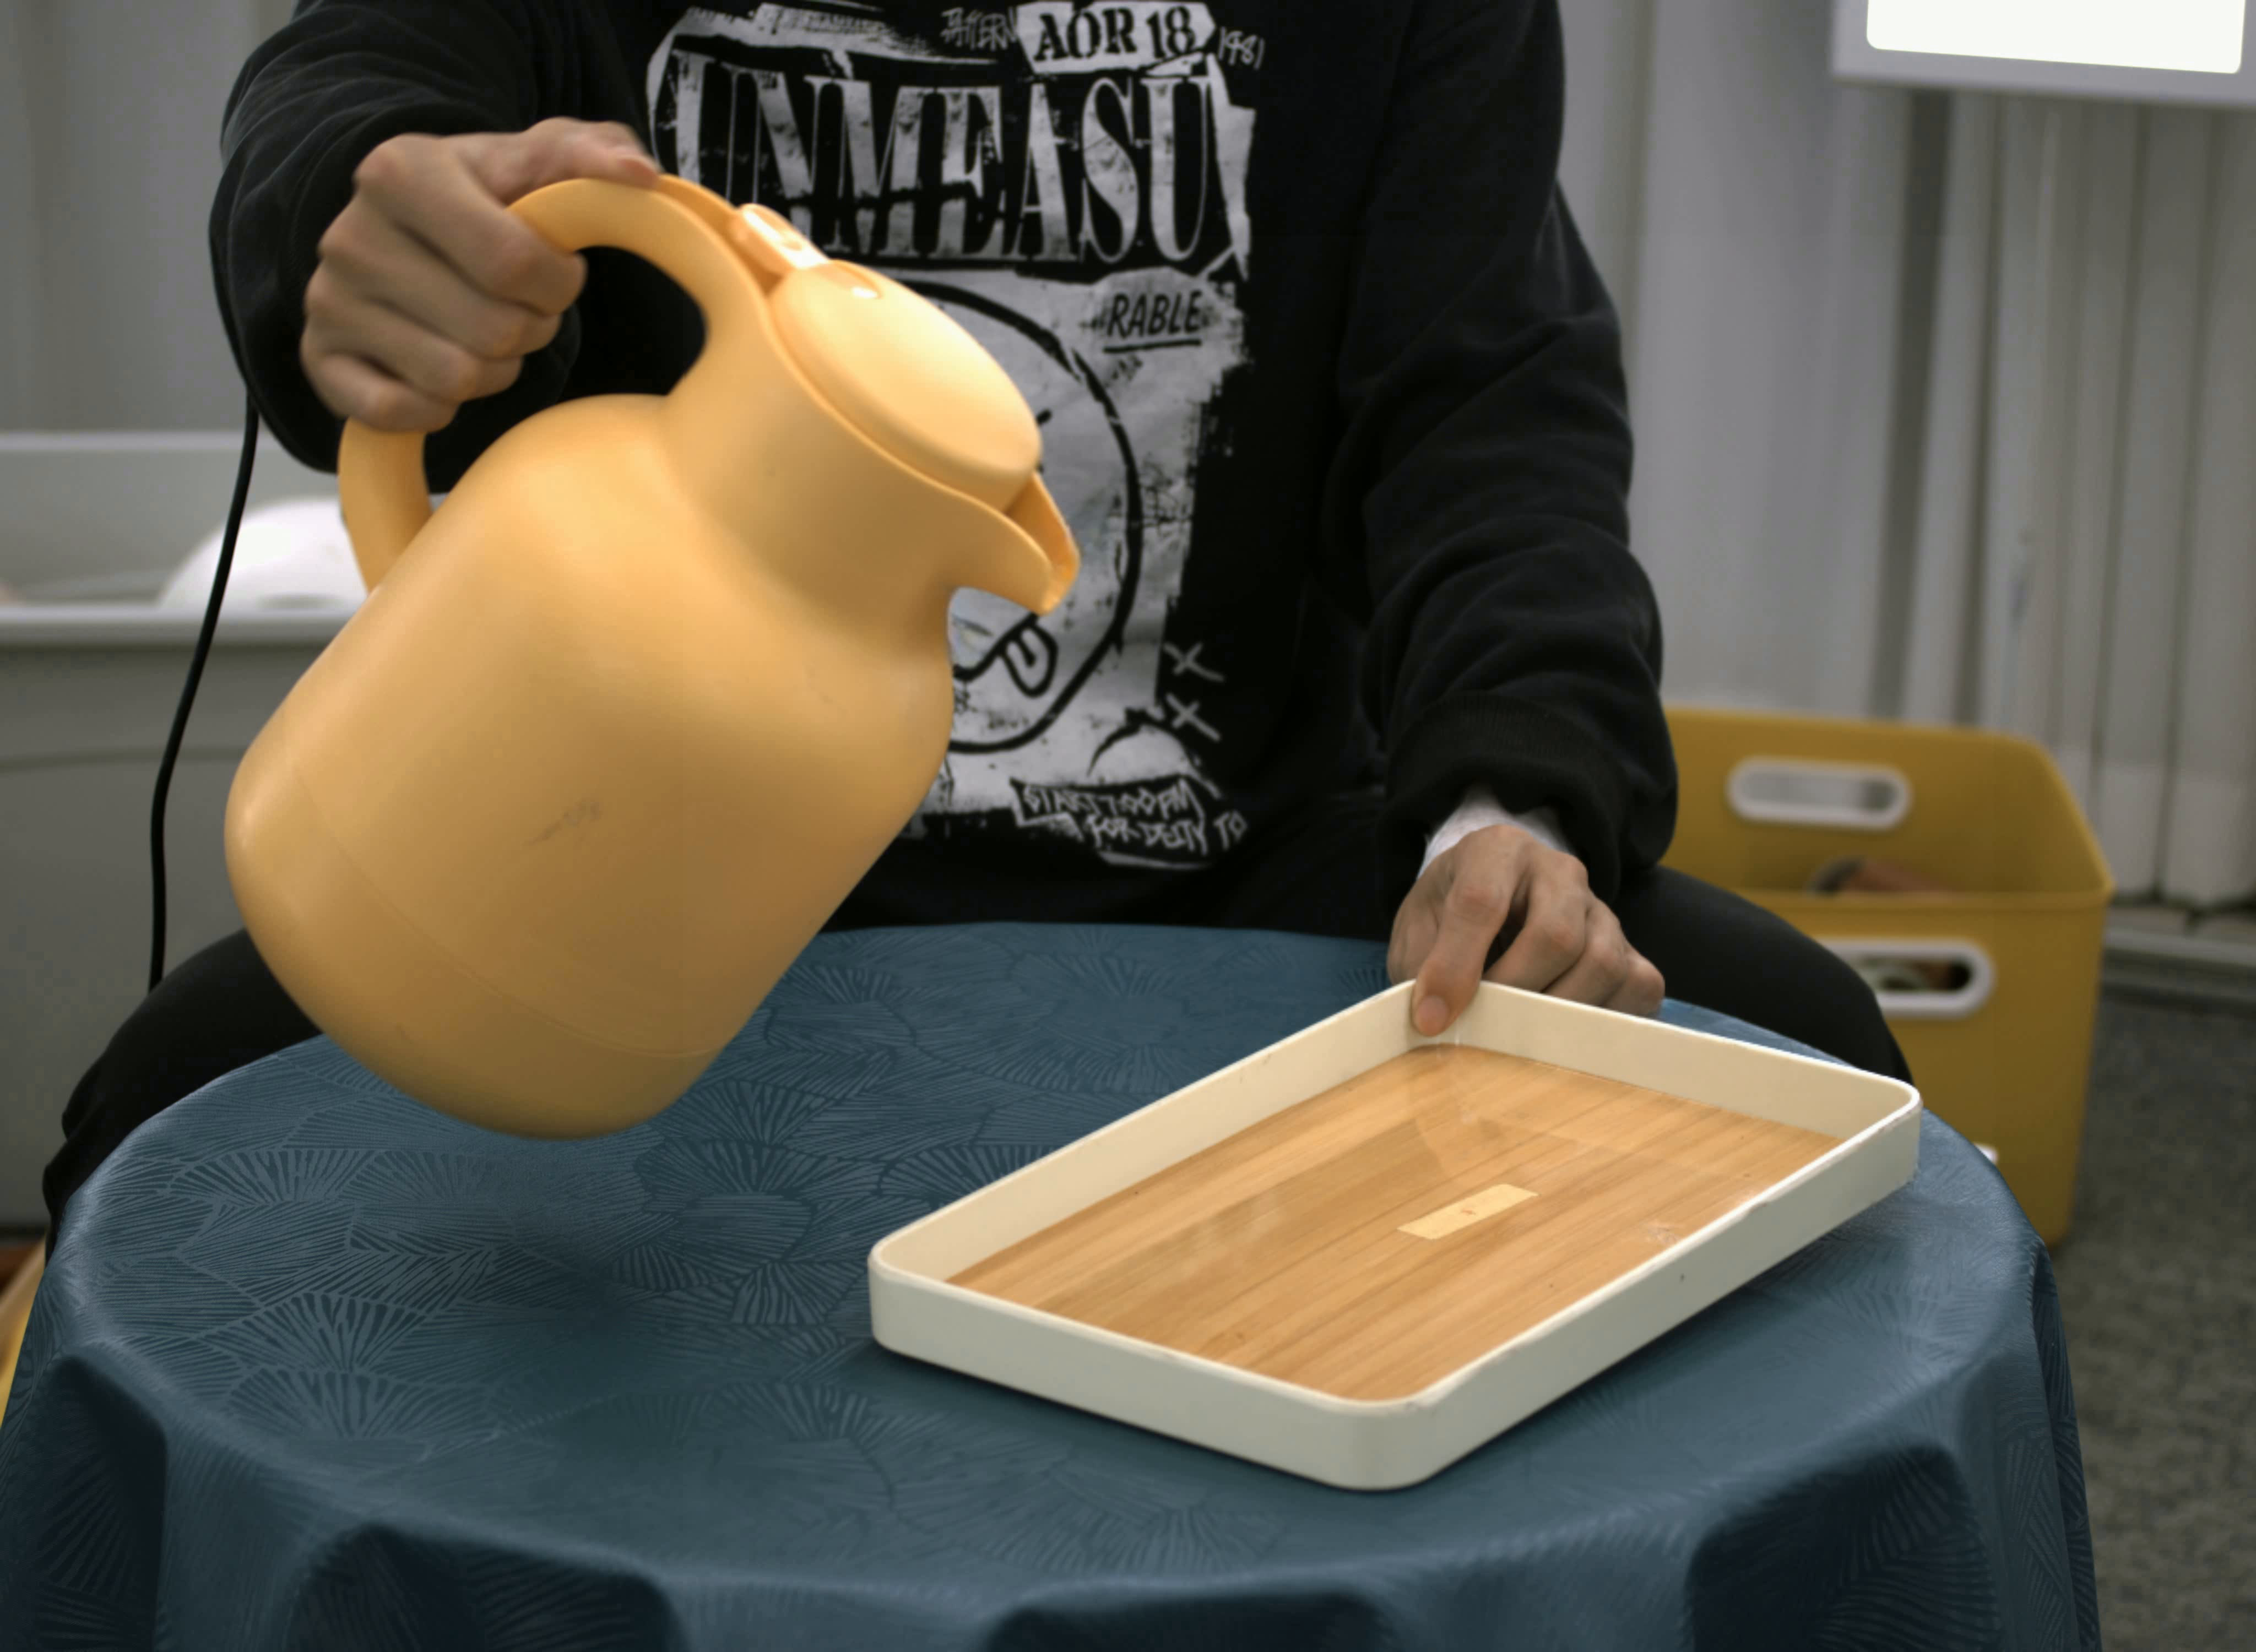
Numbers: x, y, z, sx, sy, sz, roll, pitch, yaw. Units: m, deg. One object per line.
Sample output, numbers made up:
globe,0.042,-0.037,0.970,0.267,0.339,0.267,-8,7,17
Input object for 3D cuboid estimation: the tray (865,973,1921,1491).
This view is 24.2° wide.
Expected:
tray,0.083,0.112,1.546,0.189,0.027,0.301,13,22,35

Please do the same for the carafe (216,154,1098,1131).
carafe,-0.143,-0.060,1.497,0.202,0.260,0.164,47,20,8
